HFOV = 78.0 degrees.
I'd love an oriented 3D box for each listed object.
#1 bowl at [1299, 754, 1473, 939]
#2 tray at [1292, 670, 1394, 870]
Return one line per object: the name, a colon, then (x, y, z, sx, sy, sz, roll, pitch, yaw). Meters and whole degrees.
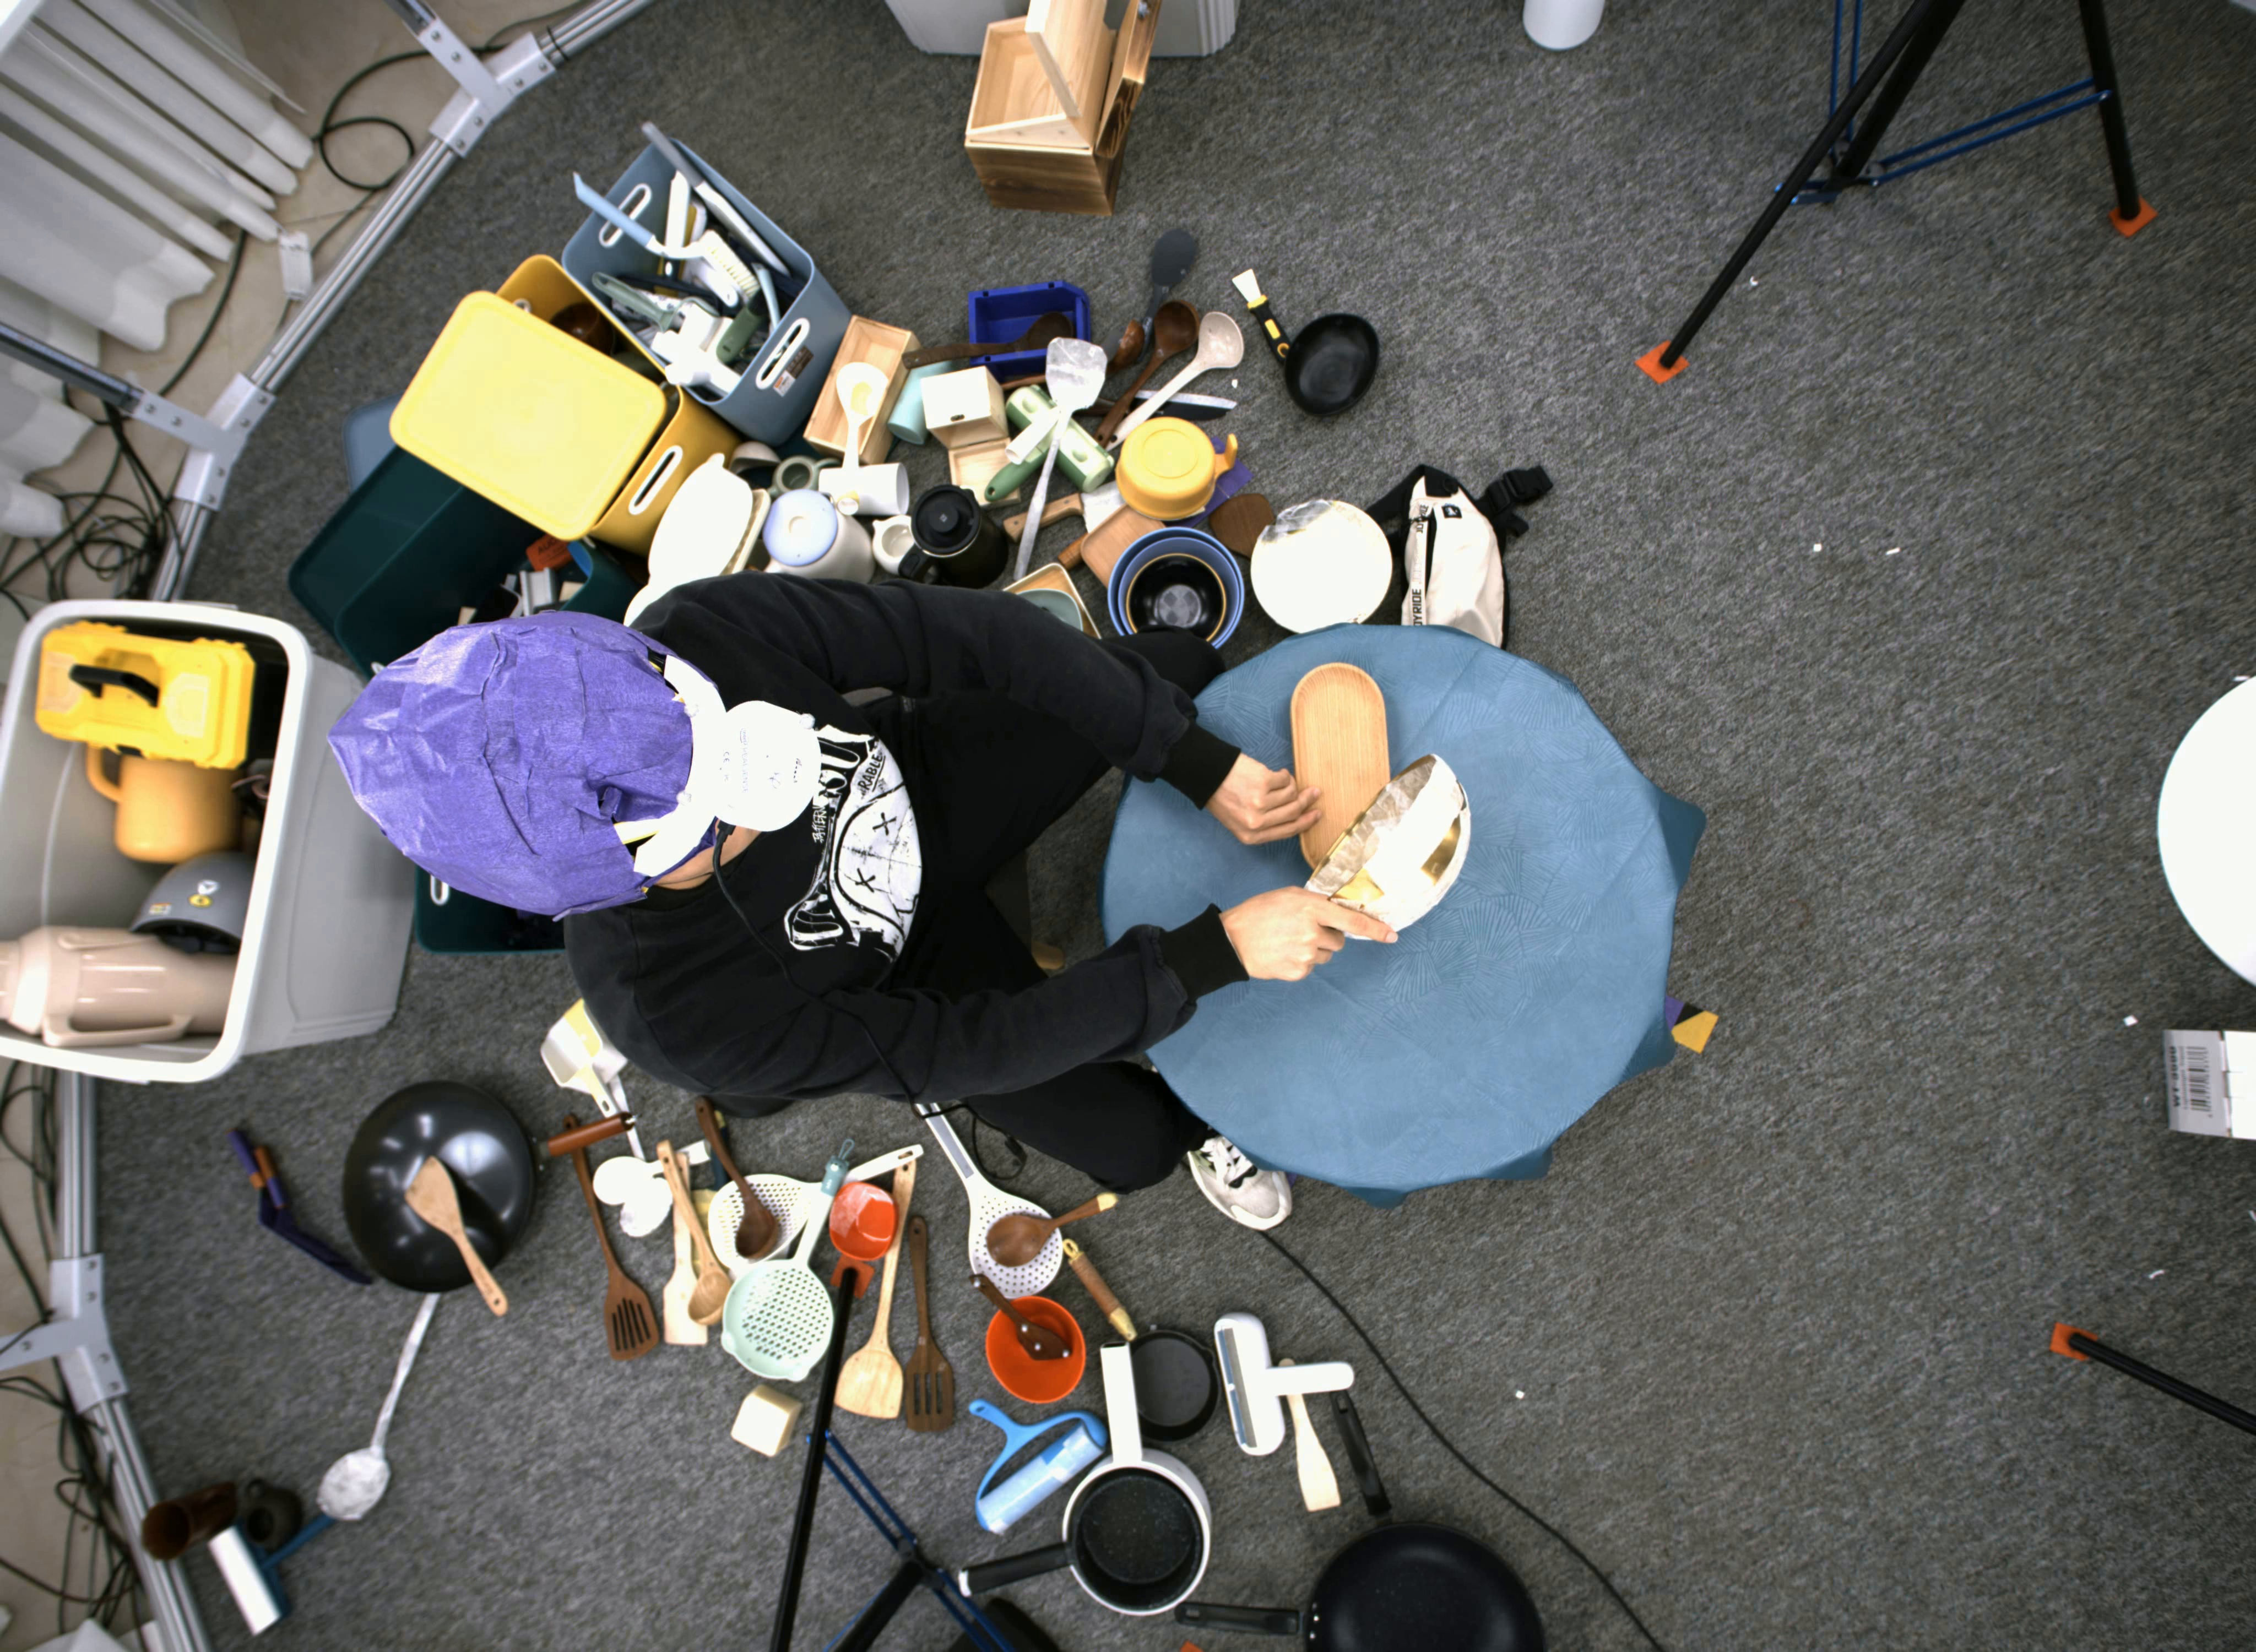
bowl: (0.262, 0.035, 1.332, 0.095, 0.214, 0.215, 39, 92, -5)
tray: (0.227, -0.049, 1.441, 0.101, 0.020, 0.231, -5, 91, -4)
